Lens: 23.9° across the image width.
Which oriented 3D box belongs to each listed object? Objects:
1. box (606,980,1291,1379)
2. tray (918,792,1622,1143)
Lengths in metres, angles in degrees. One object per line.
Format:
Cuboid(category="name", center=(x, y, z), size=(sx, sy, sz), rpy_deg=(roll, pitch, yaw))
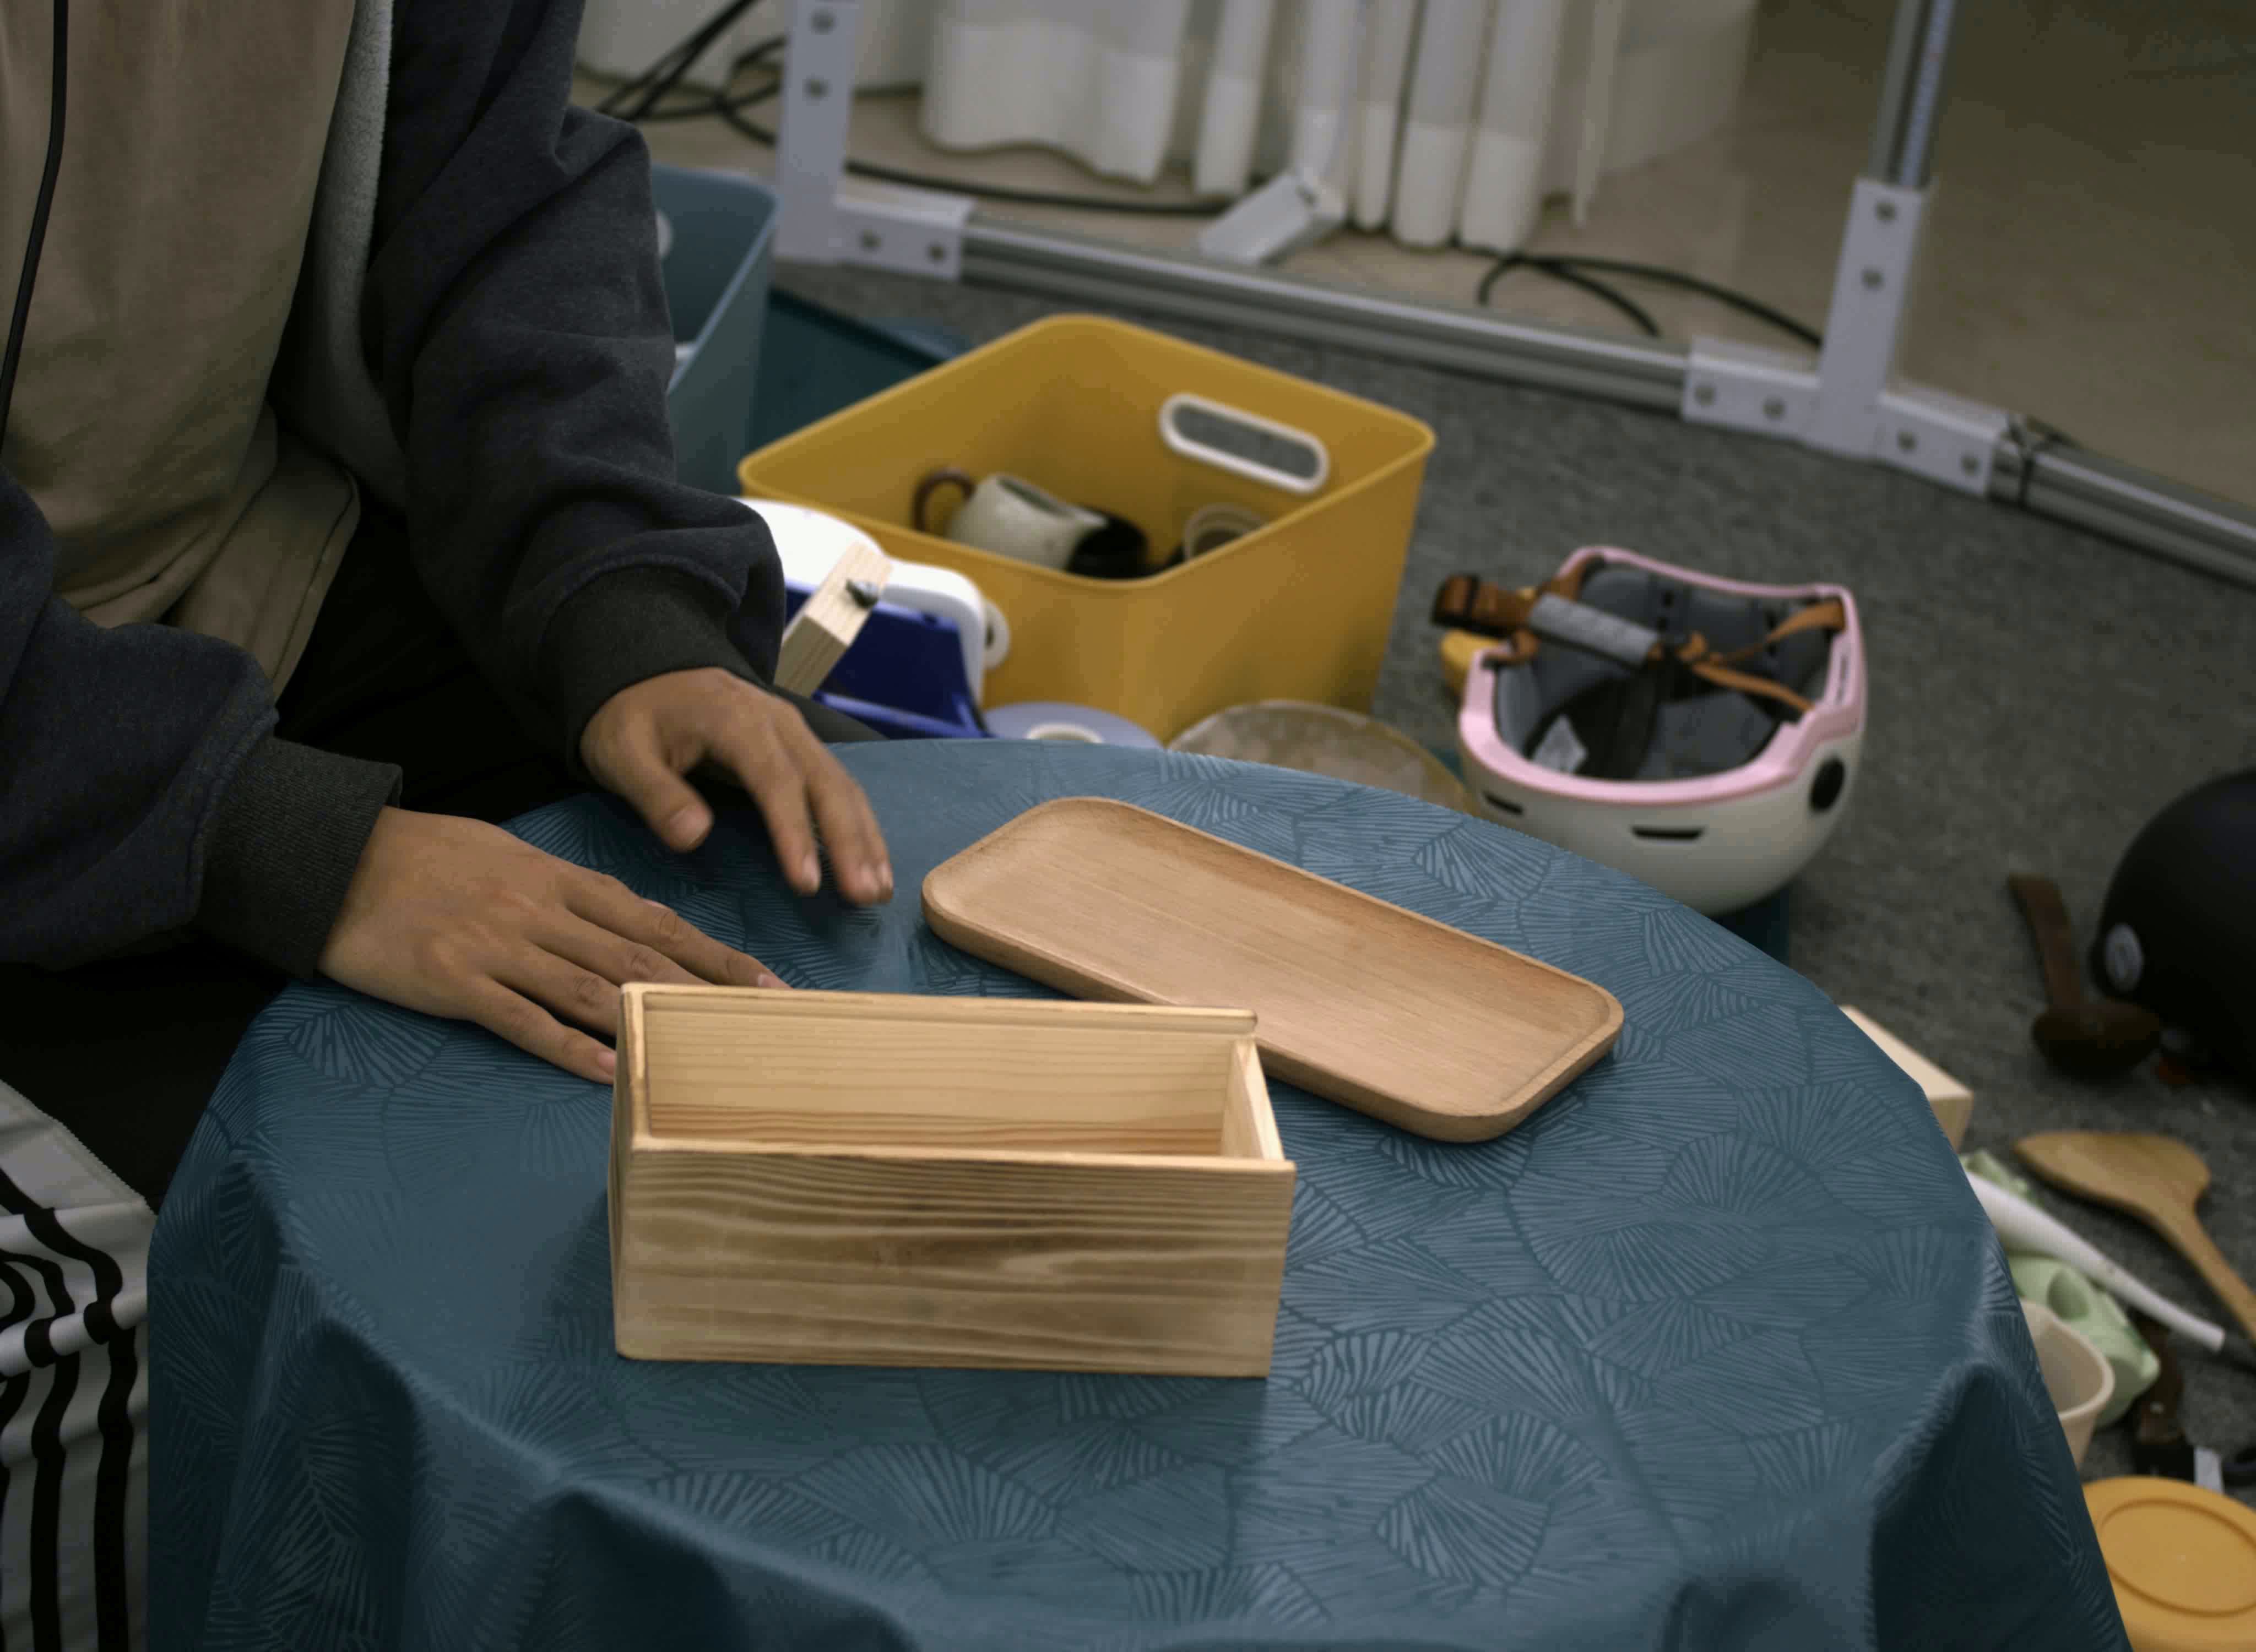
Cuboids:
Cuboid(category="box", center=(-0.061, 0.114, 1.720), size=(0.210, 0.080, 0.108), rpy_deg=(3, 27, -8))
Cuboid(category="tray", center=(0.050, 0.050, 1.938), size=(0.252, 0.023, 0.130), rpy_deg=(21, 28, 27))
